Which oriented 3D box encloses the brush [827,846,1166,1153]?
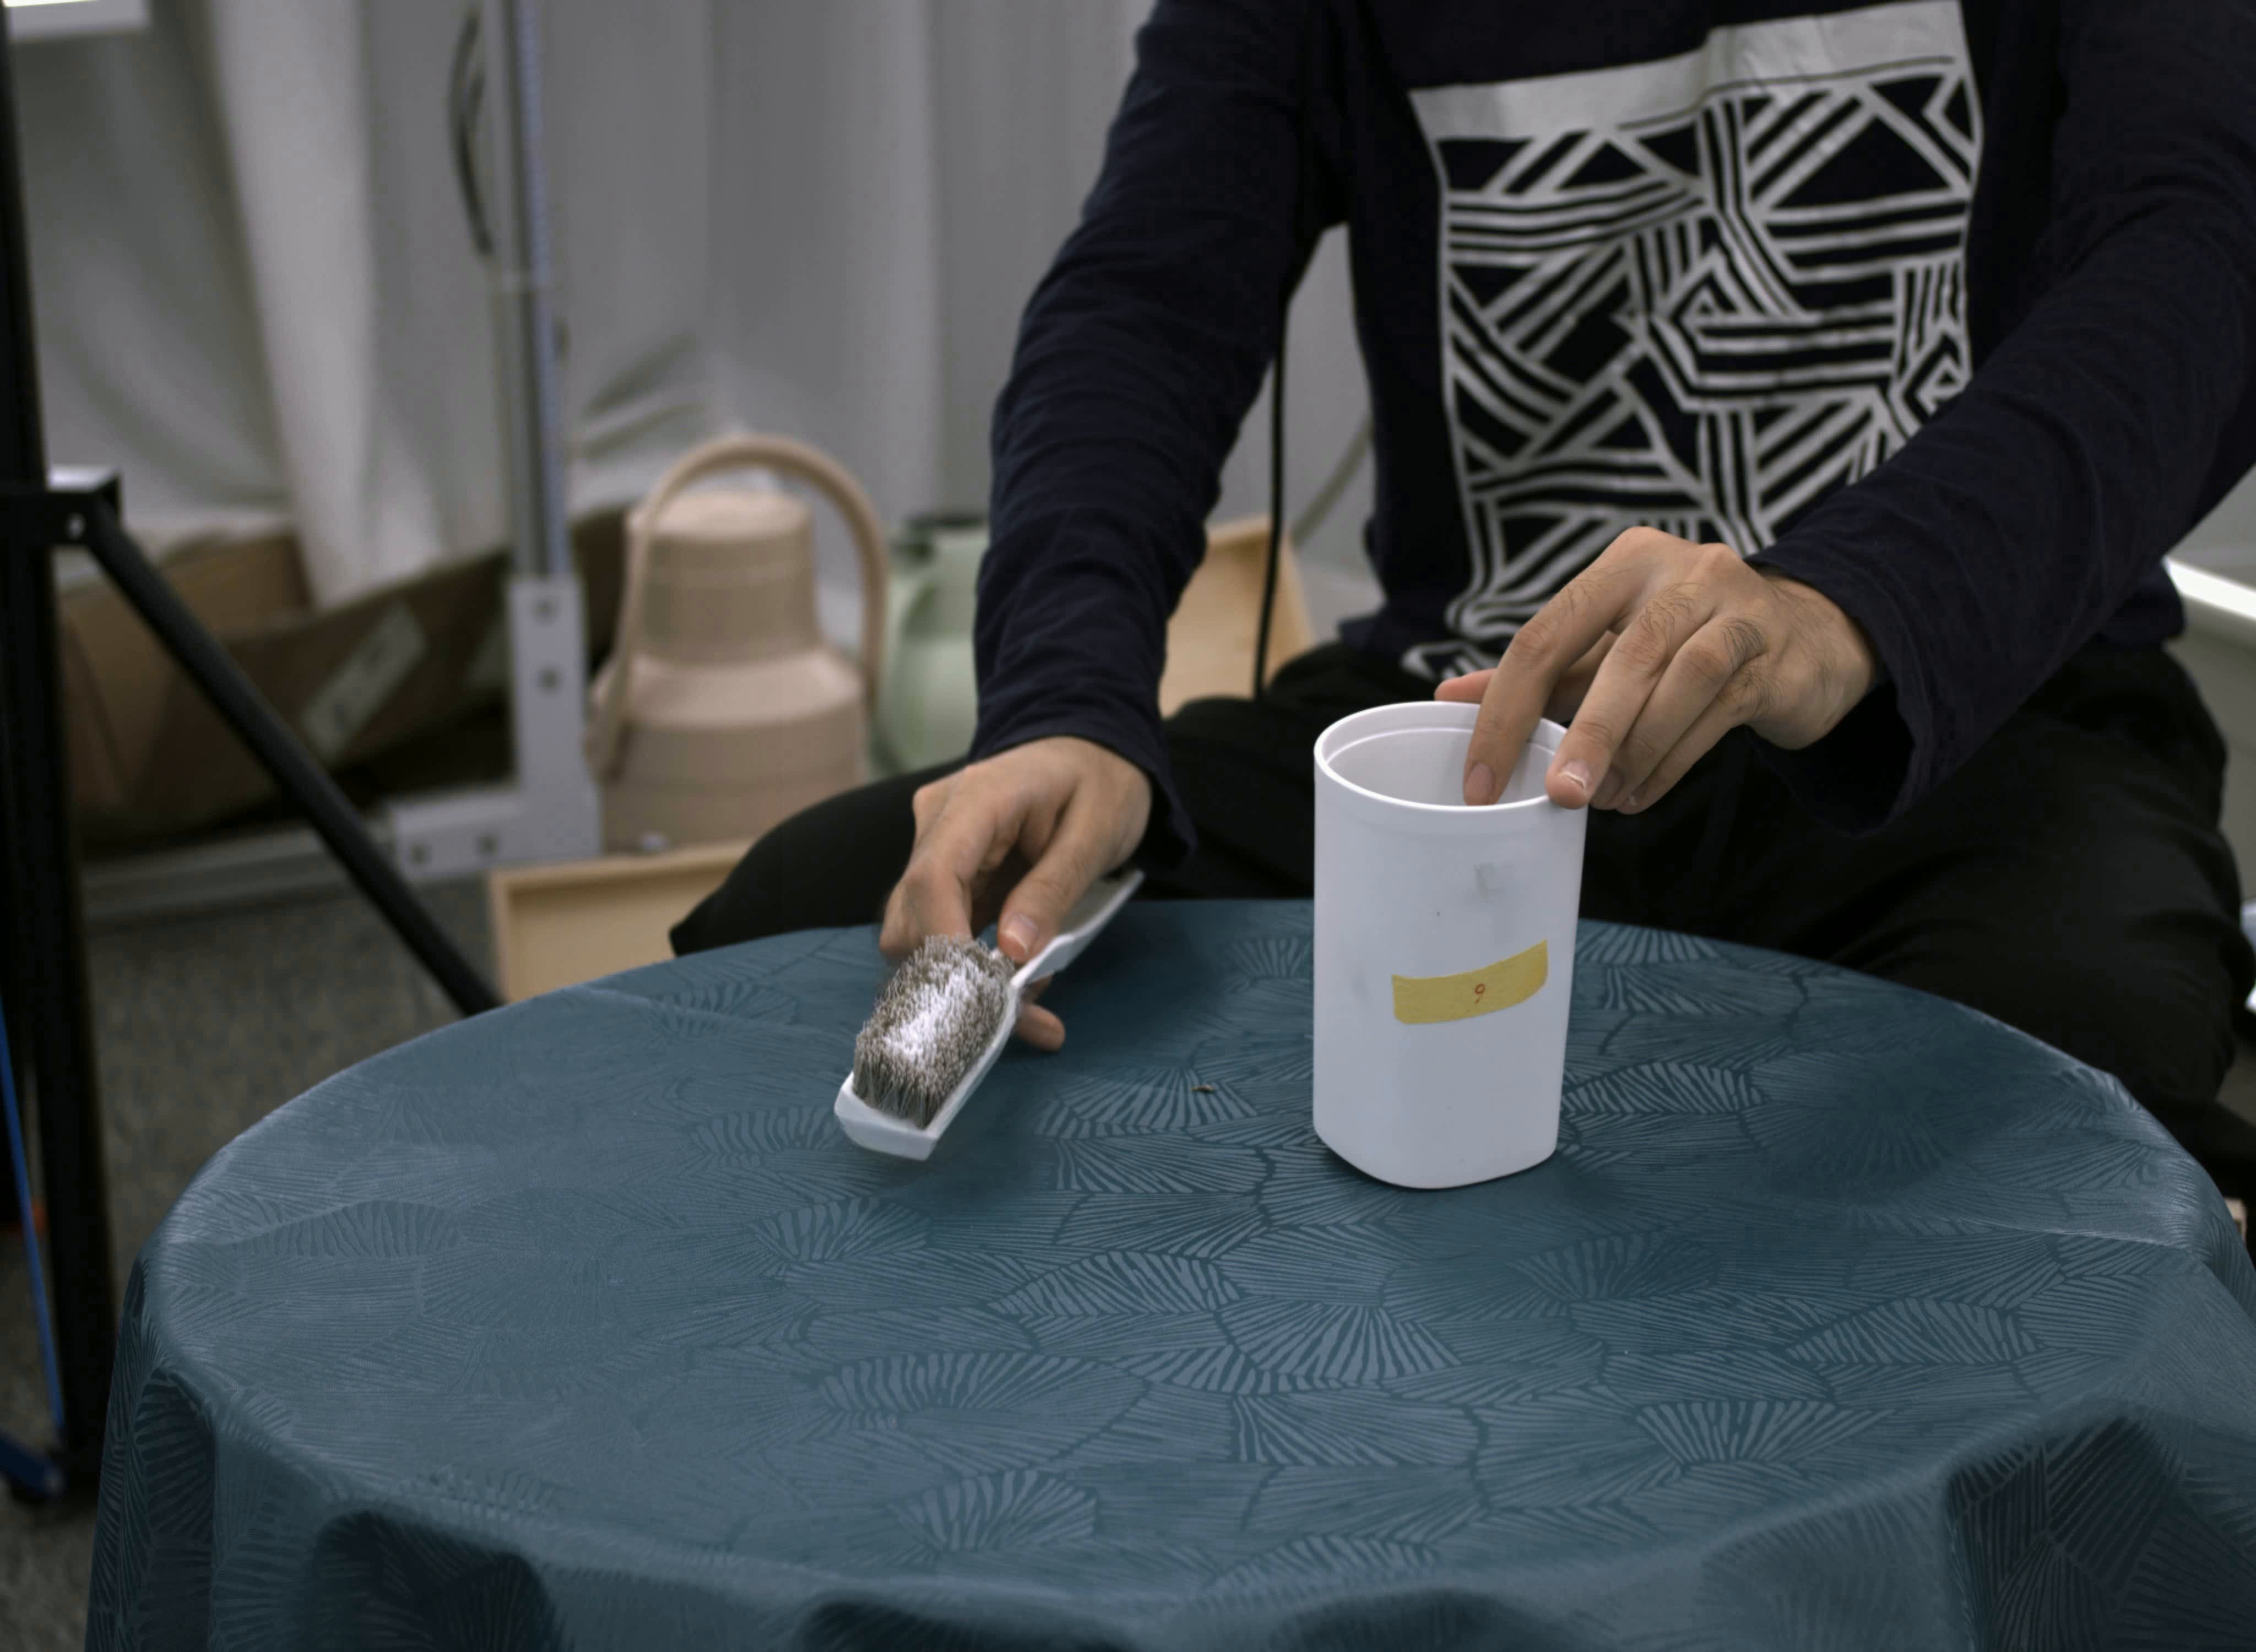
[{"bbox_3d":[-0.032,0.036,1.667,0.034,0.050,0.241,25,27,12],"label":"brush"}]

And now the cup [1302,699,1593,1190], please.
[{"bbox_3d":[0.092,0.036,1.559,0.081,0.125,0.082,2,22,-2],"label":"cup"}]
